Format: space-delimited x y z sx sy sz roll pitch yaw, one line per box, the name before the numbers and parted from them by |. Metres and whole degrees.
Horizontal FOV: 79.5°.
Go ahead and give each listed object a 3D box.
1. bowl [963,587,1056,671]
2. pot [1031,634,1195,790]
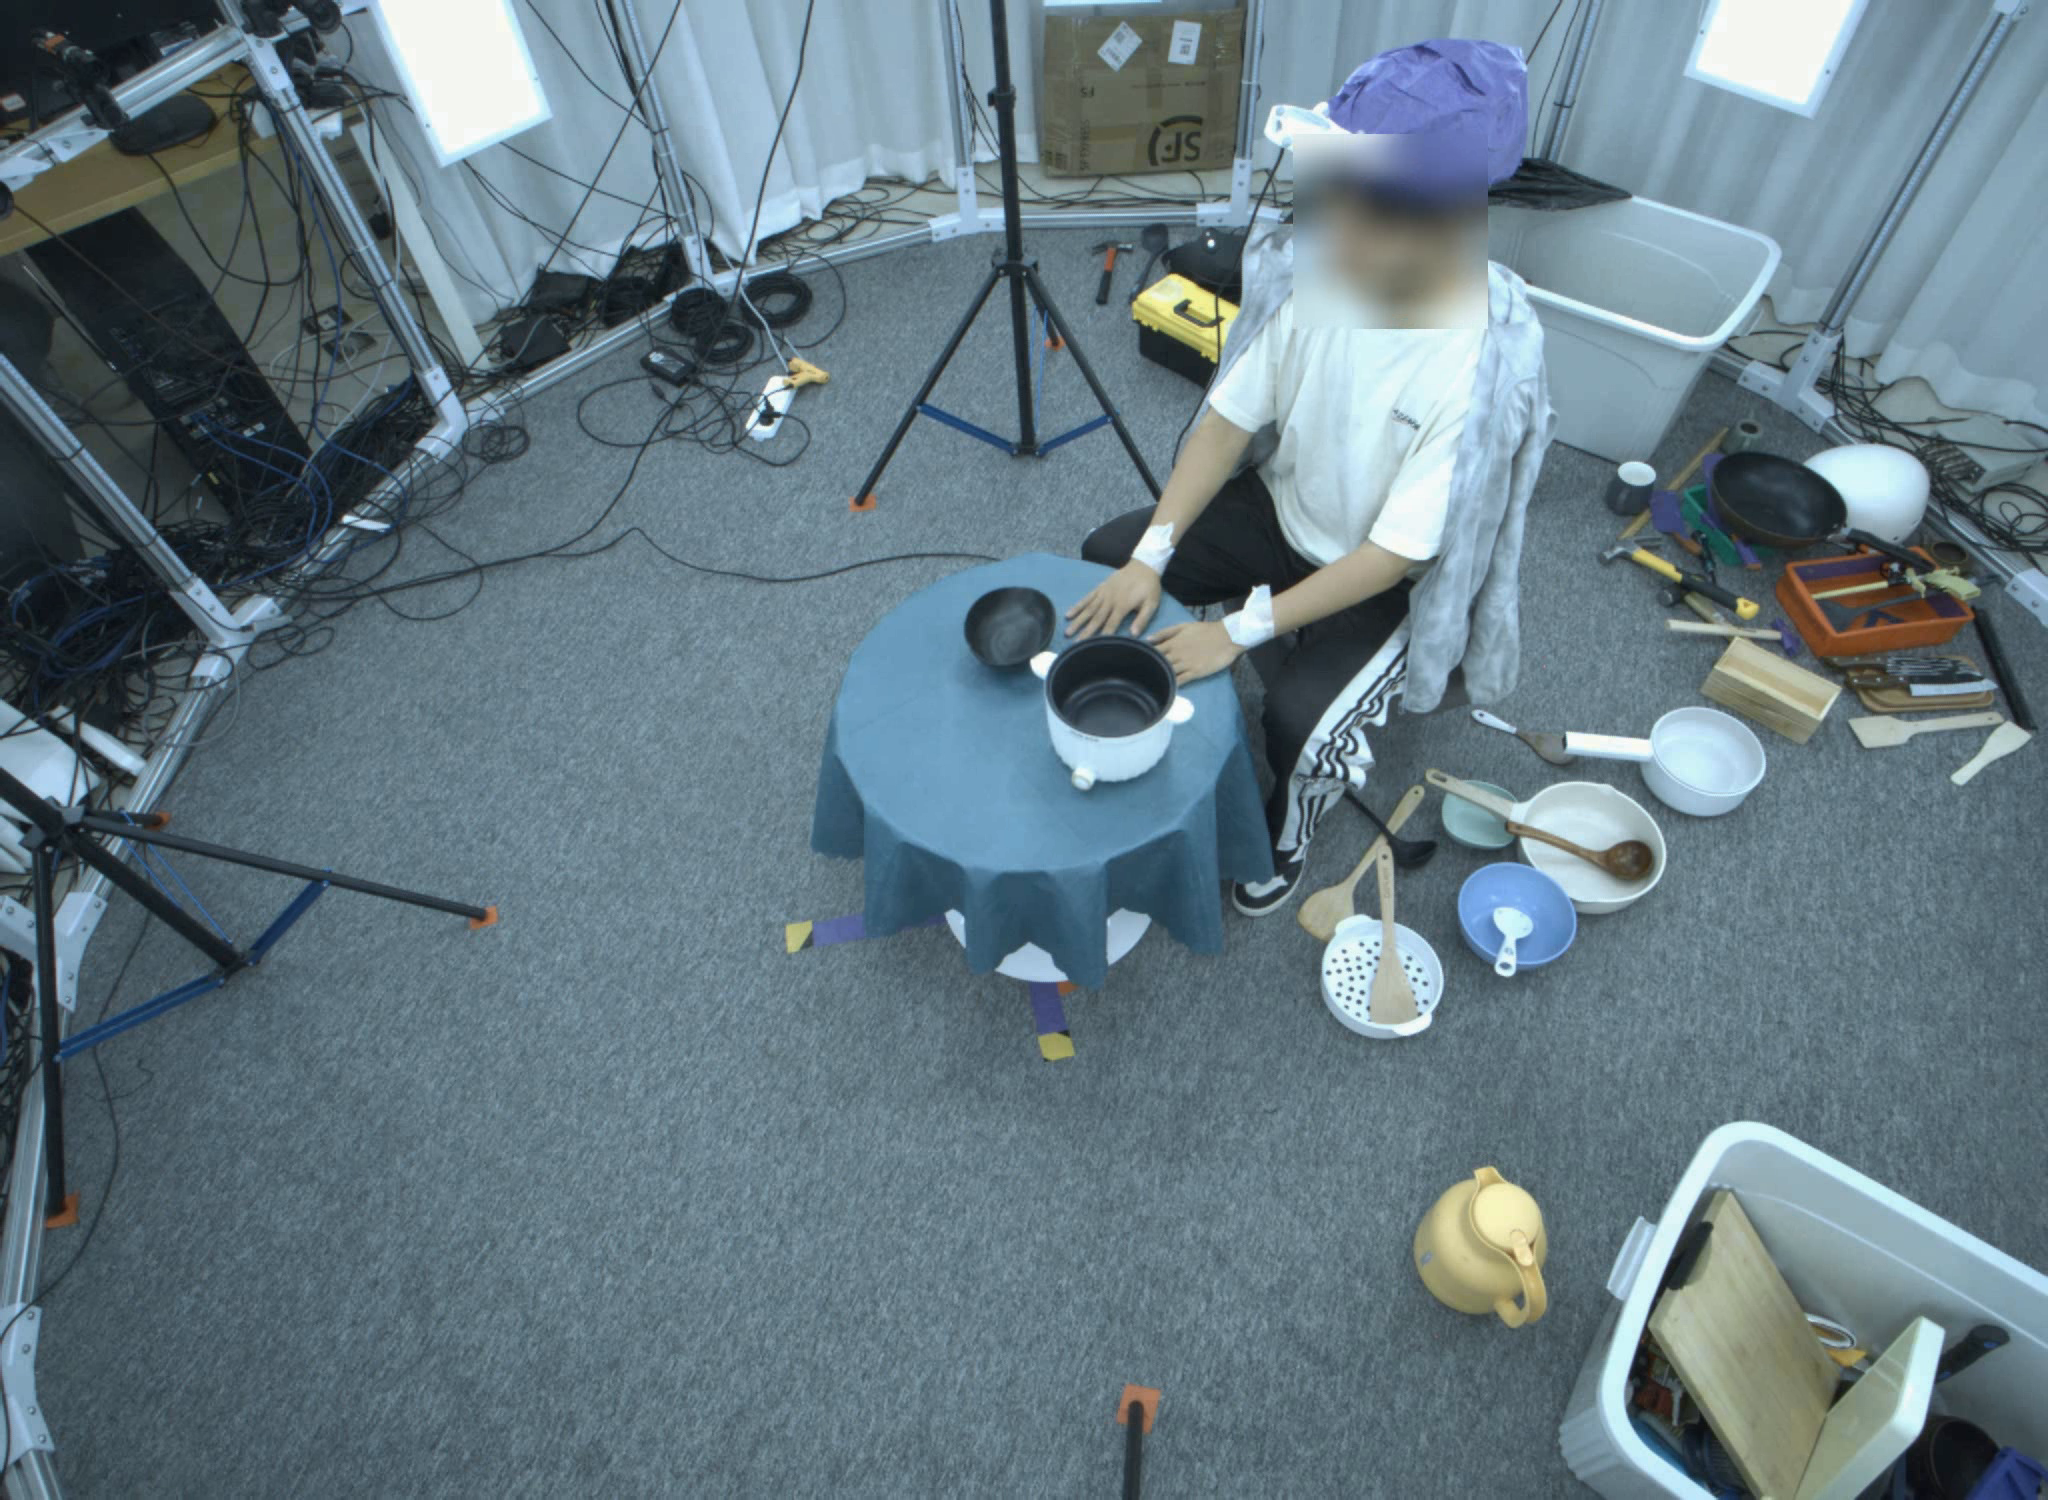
bowl | -0.020 -0.178 1.877 0.136 0.067 0.170 12 55 9
pot | 0.121 -0.047 1.734 0.237 0.144 0.191 20 55 16
